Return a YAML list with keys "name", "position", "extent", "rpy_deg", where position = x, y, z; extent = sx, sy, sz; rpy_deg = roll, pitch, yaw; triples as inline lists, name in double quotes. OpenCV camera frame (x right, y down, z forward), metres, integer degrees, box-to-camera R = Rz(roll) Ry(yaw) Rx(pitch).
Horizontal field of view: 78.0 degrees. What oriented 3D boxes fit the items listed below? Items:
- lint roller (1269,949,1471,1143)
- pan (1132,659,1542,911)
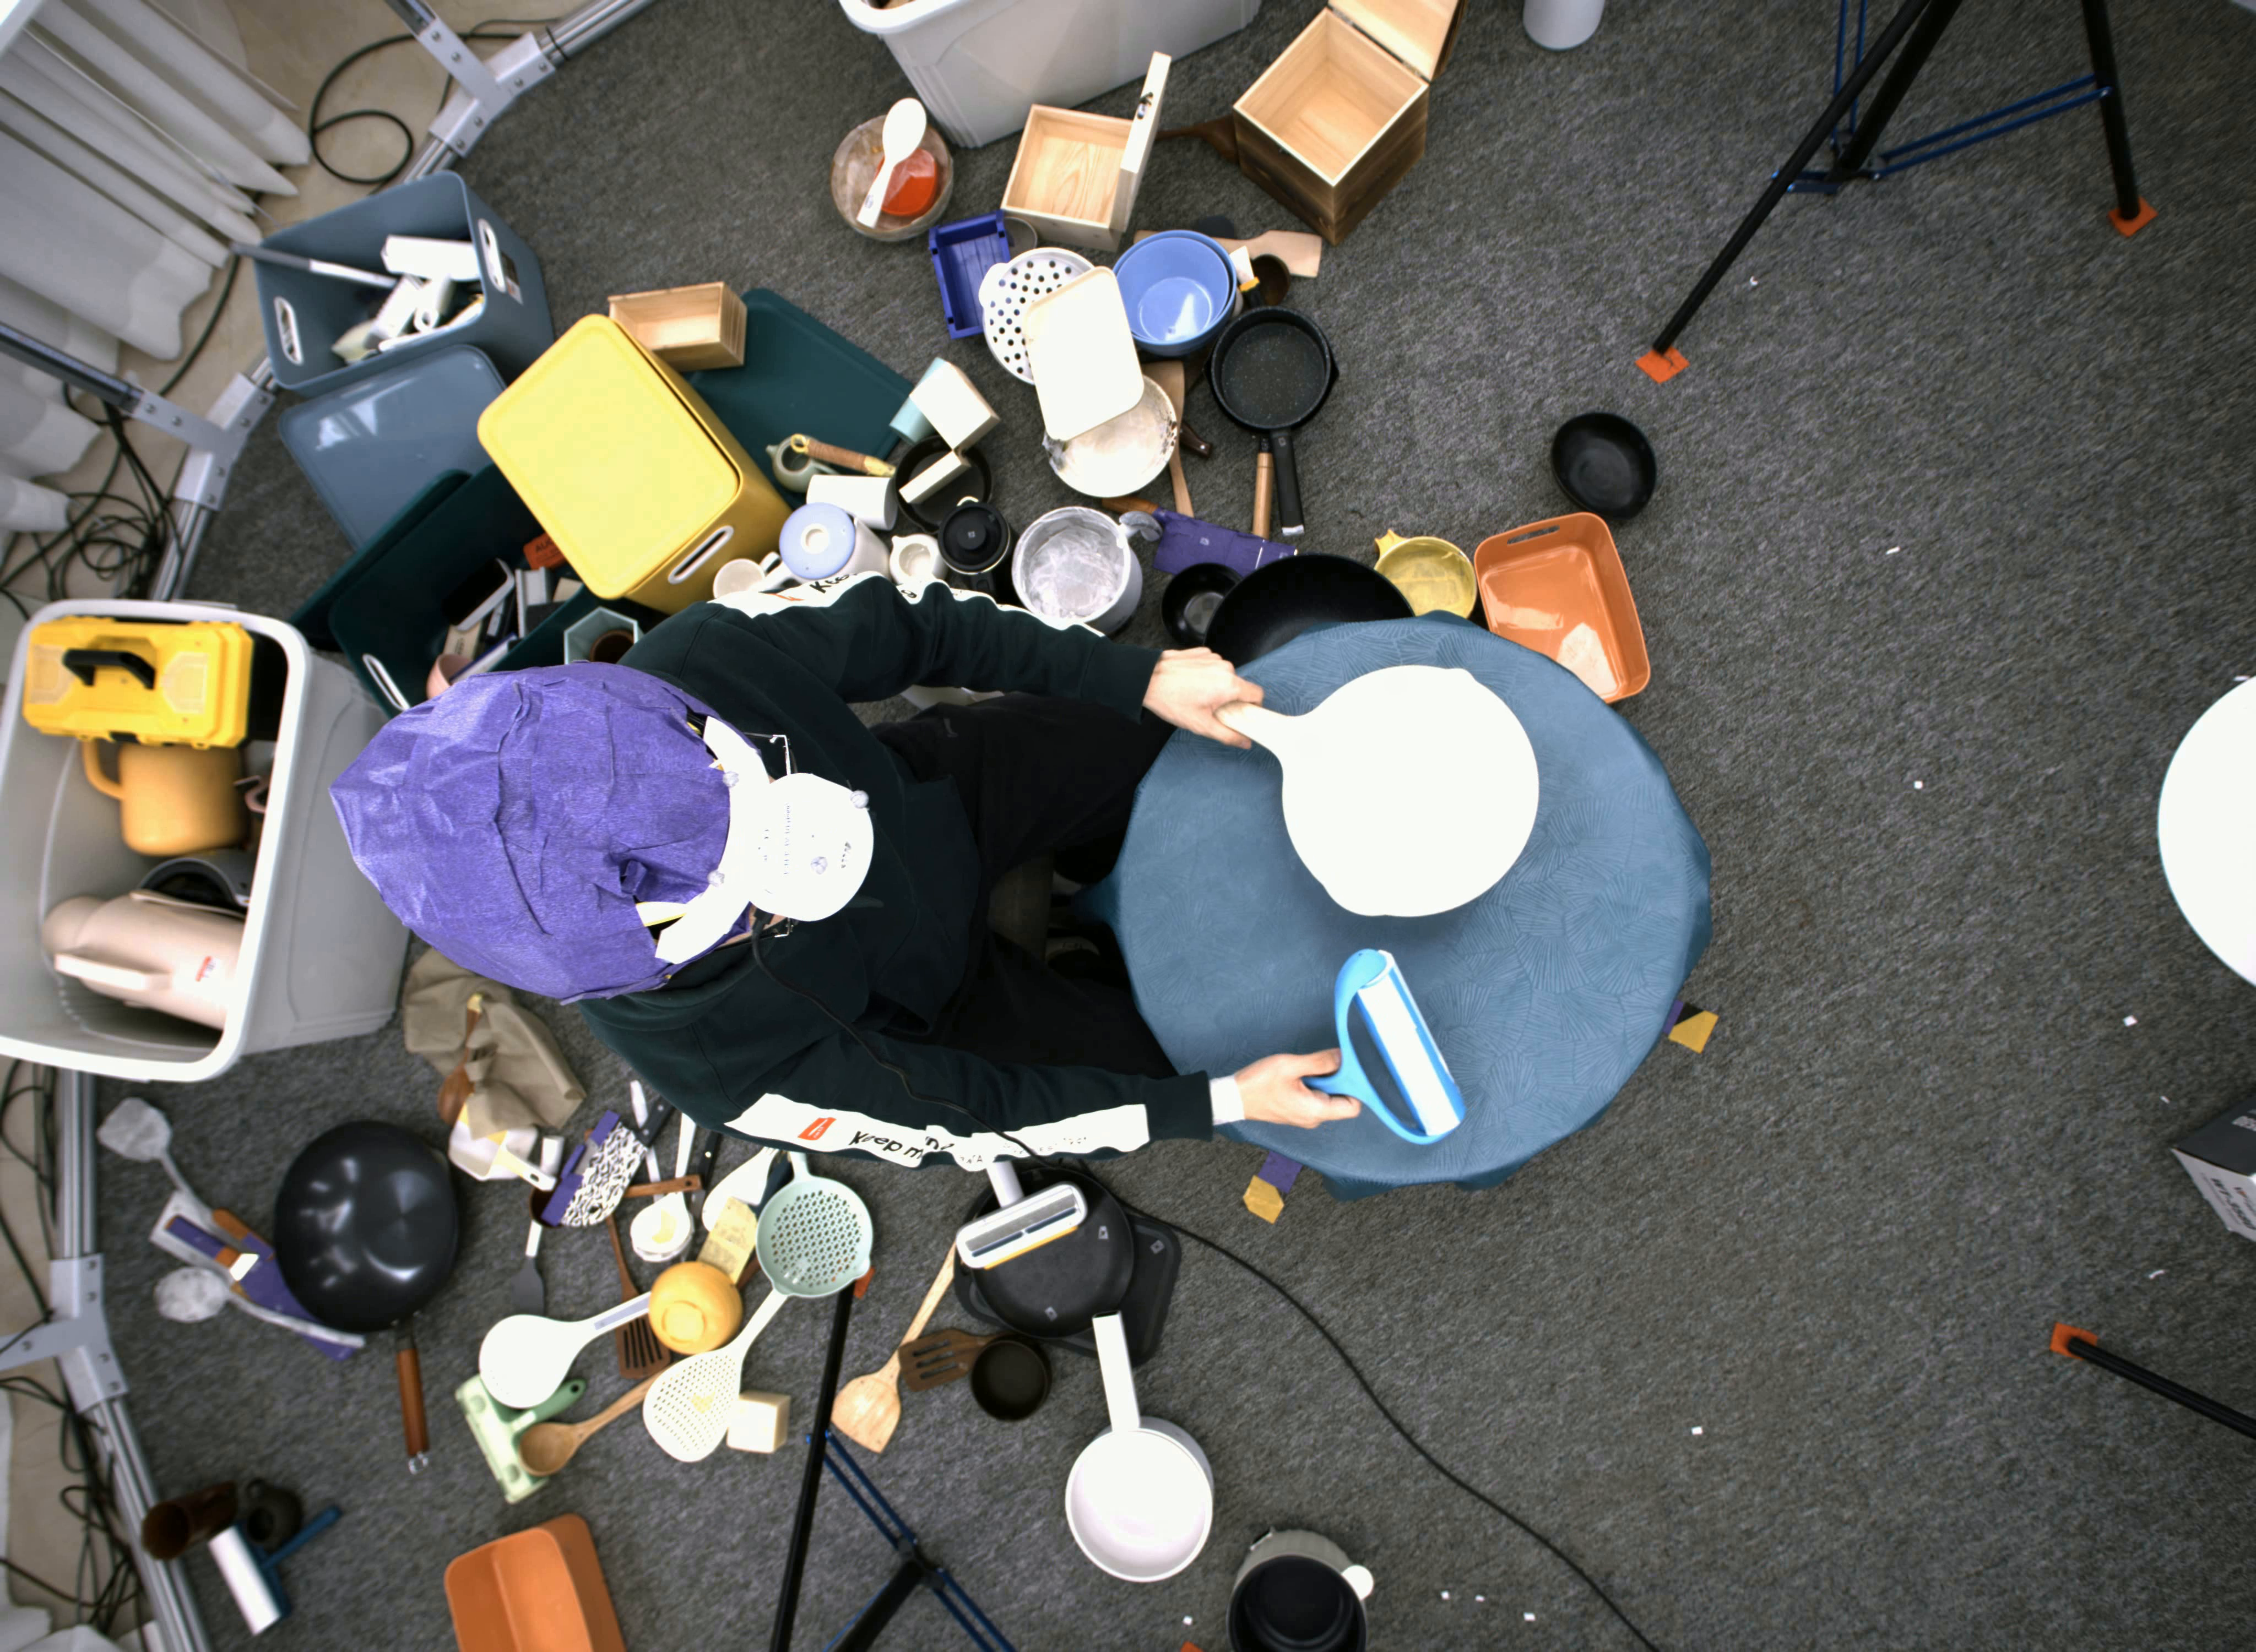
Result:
- name: "lint roller"
  position: [0.225, 0.238, 1.375]
  extent: [0.182, 0.066, 0.232]
  rpy_deg: [-26, 115, 18]
- name: "pan"
  position: [0.210, -0.074, 1.417]
  extent: [0.434, 0.102, 0.264]
  rpy_deg: [25, 94, 20]
